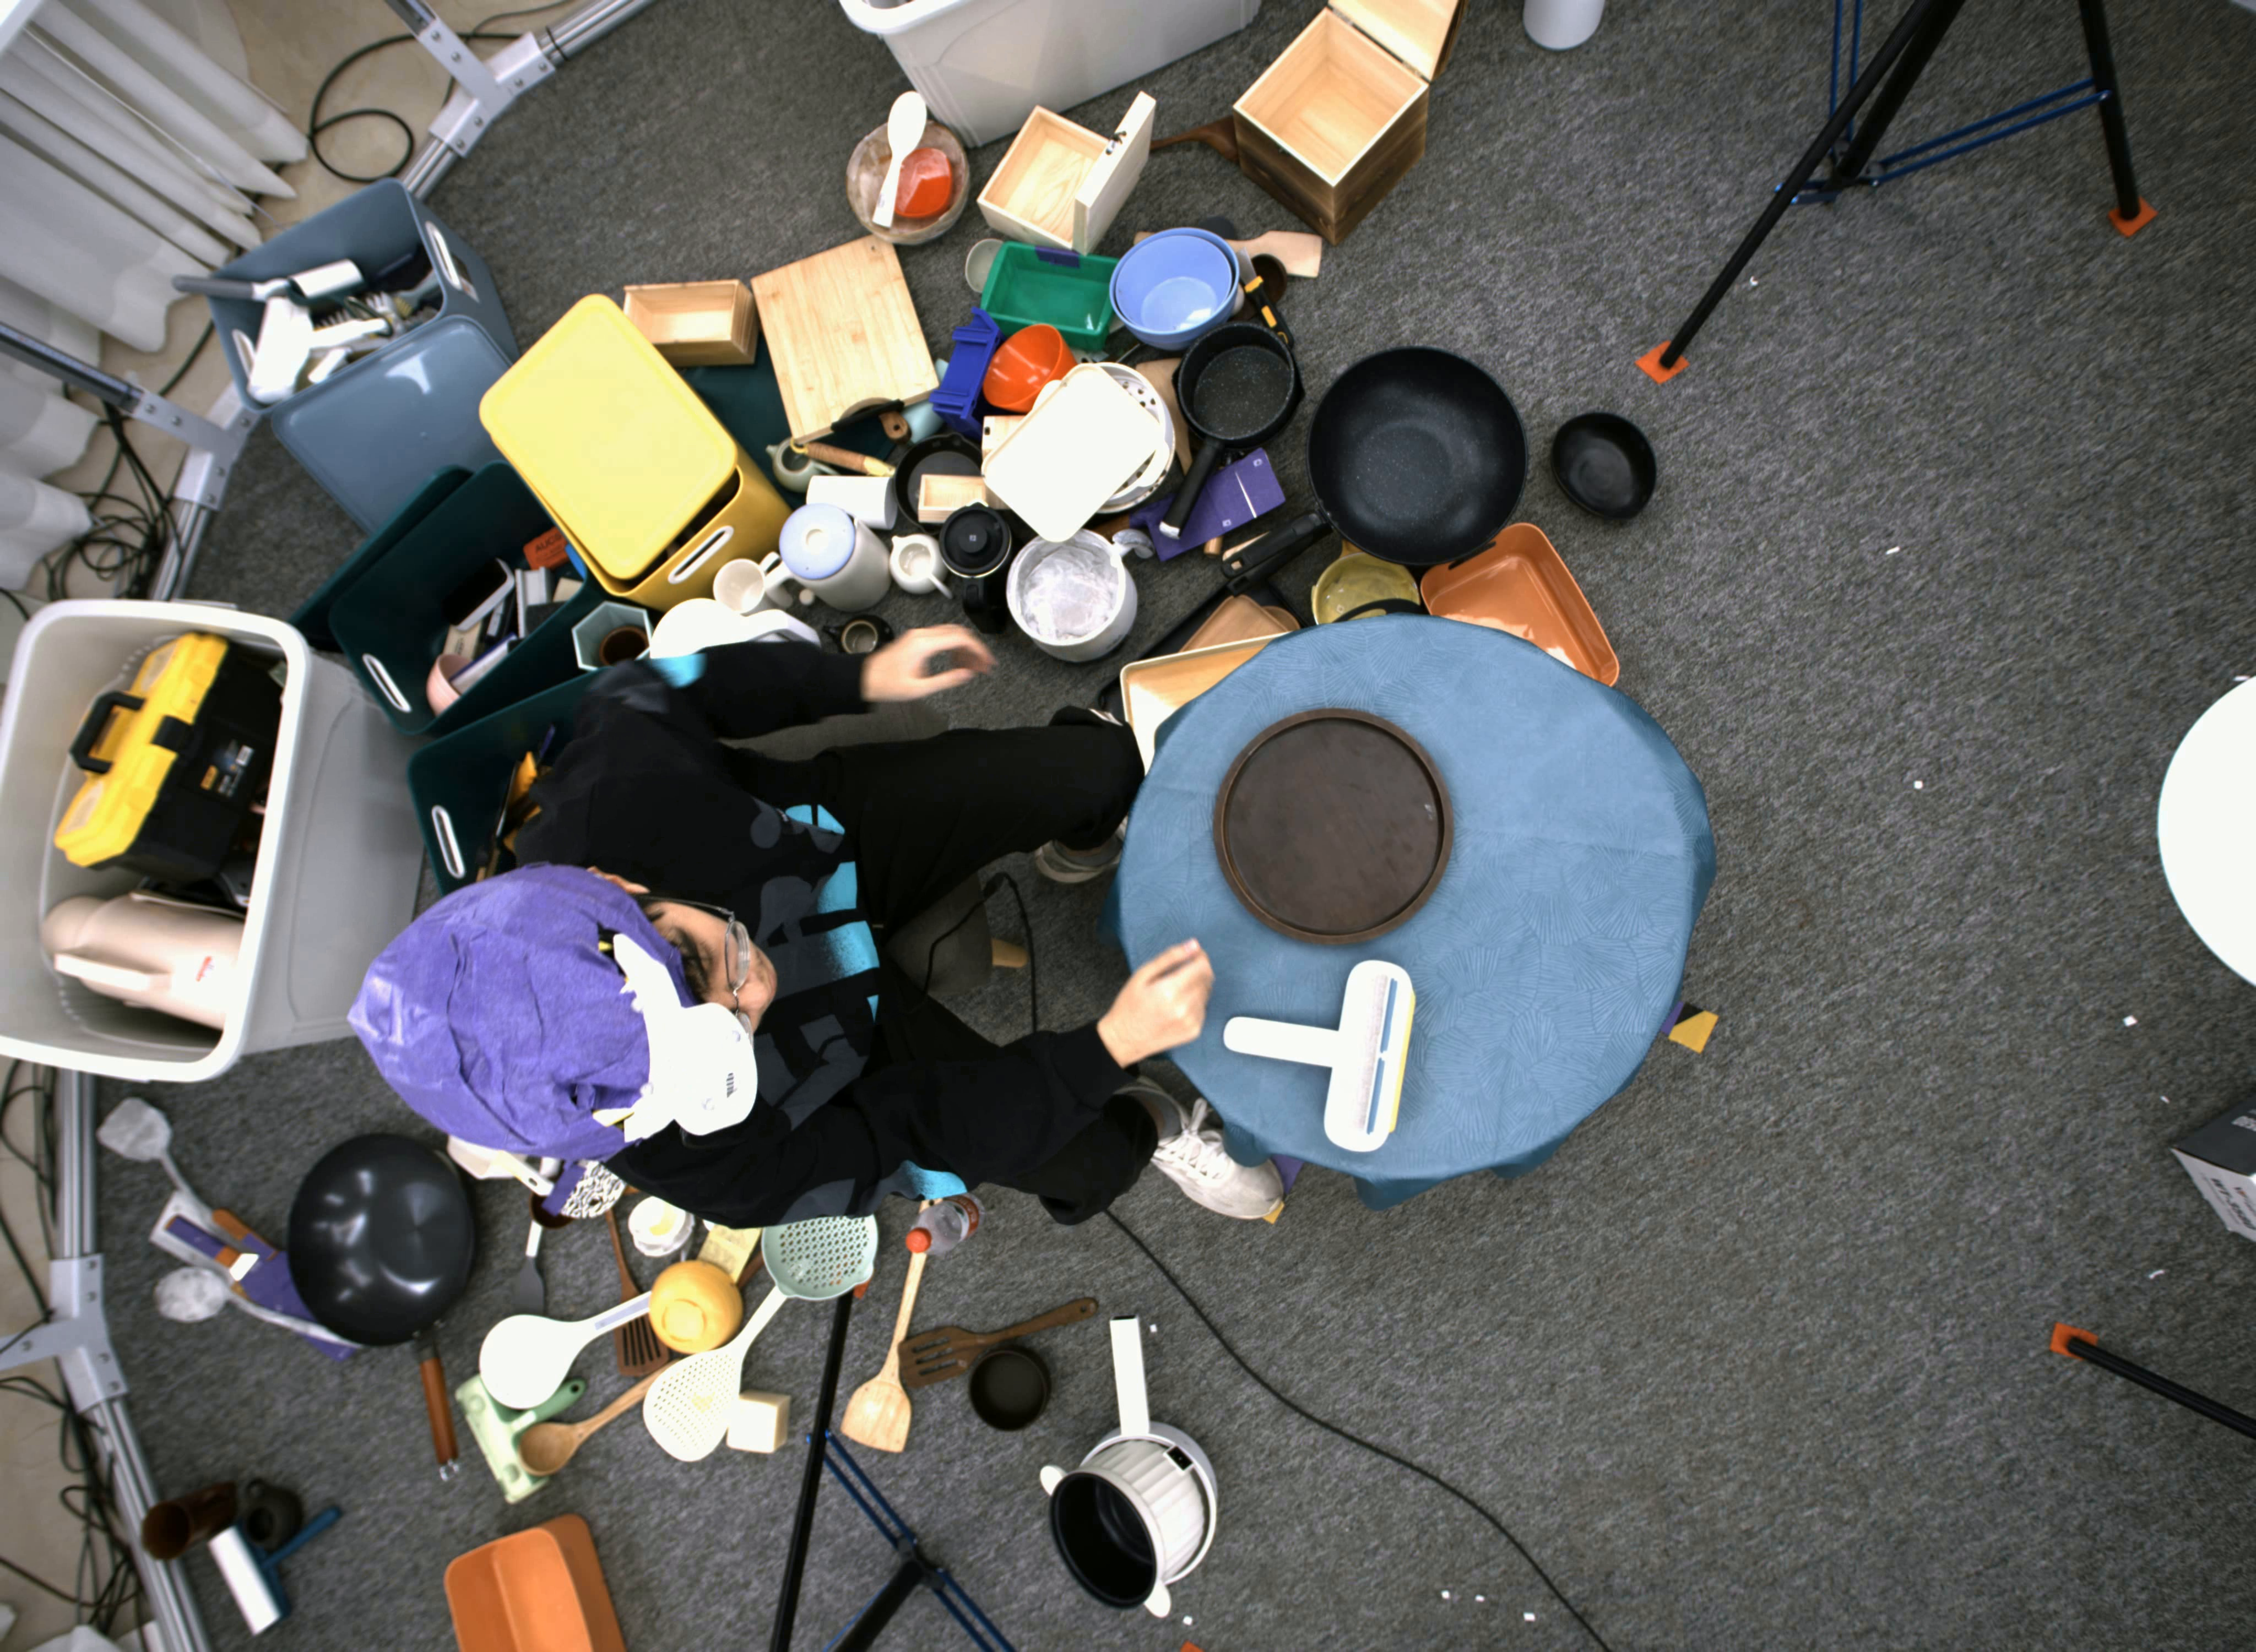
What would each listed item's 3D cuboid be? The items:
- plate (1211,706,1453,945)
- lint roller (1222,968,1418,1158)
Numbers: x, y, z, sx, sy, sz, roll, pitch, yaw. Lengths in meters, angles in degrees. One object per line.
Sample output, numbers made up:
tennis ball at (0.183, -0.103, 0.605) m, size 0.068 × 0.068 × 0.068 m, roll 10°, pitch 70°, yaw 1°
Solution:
plate at (0.215, -0.001, 1.458) m, size 0.256 × 0.029 × 0.253 m, roll -1°, pitch 87°, yaw 11°
lint roller at (0.189, 0.228, 1.428) m, size 0.193 × 0.074 × 0.191 m, roll 13°, pitch 84°, yaw 12°
